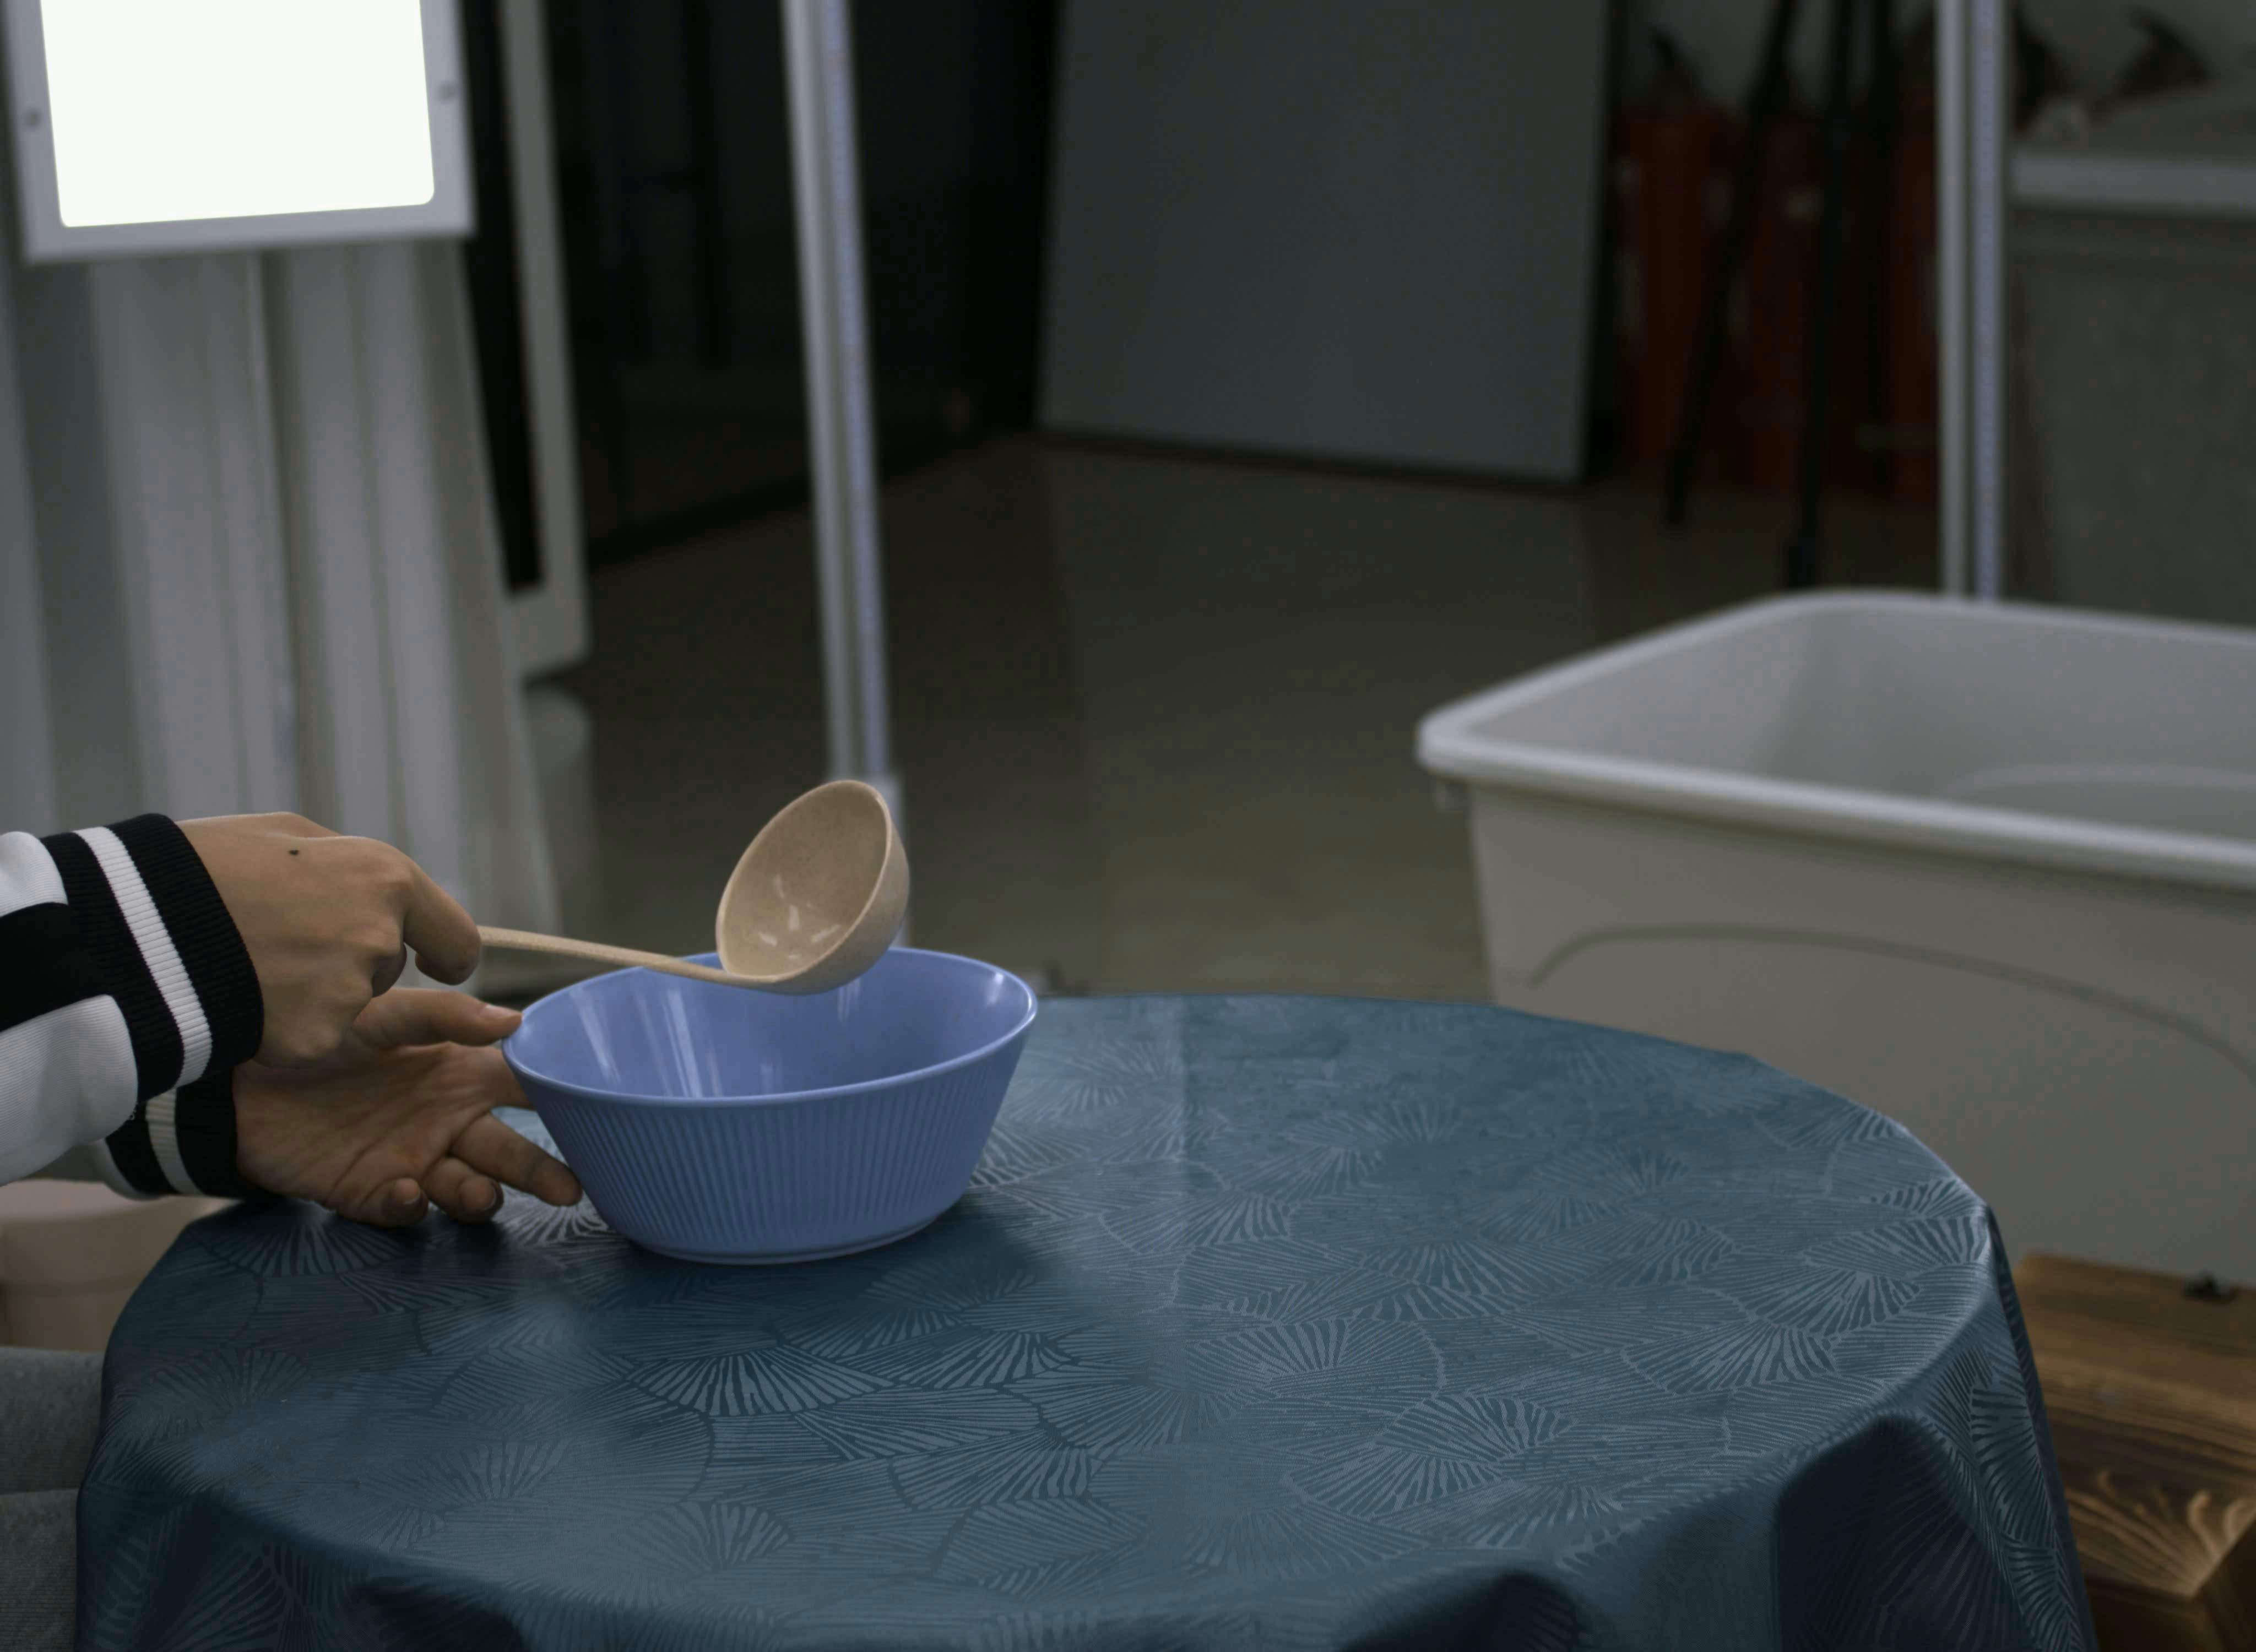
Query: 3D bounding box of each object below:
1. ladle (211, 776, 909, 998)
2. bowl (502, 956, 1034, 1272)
[{"bbox_3d":[-0.173,0.011,1.675,0.249,0.074,0.073,6,2,-44],"label":"ladle"},{"bbox_3d":[-0.115,0.096,1.762,0.174,0.071,0.176,-4,13,0],"label":"bowl"}]
